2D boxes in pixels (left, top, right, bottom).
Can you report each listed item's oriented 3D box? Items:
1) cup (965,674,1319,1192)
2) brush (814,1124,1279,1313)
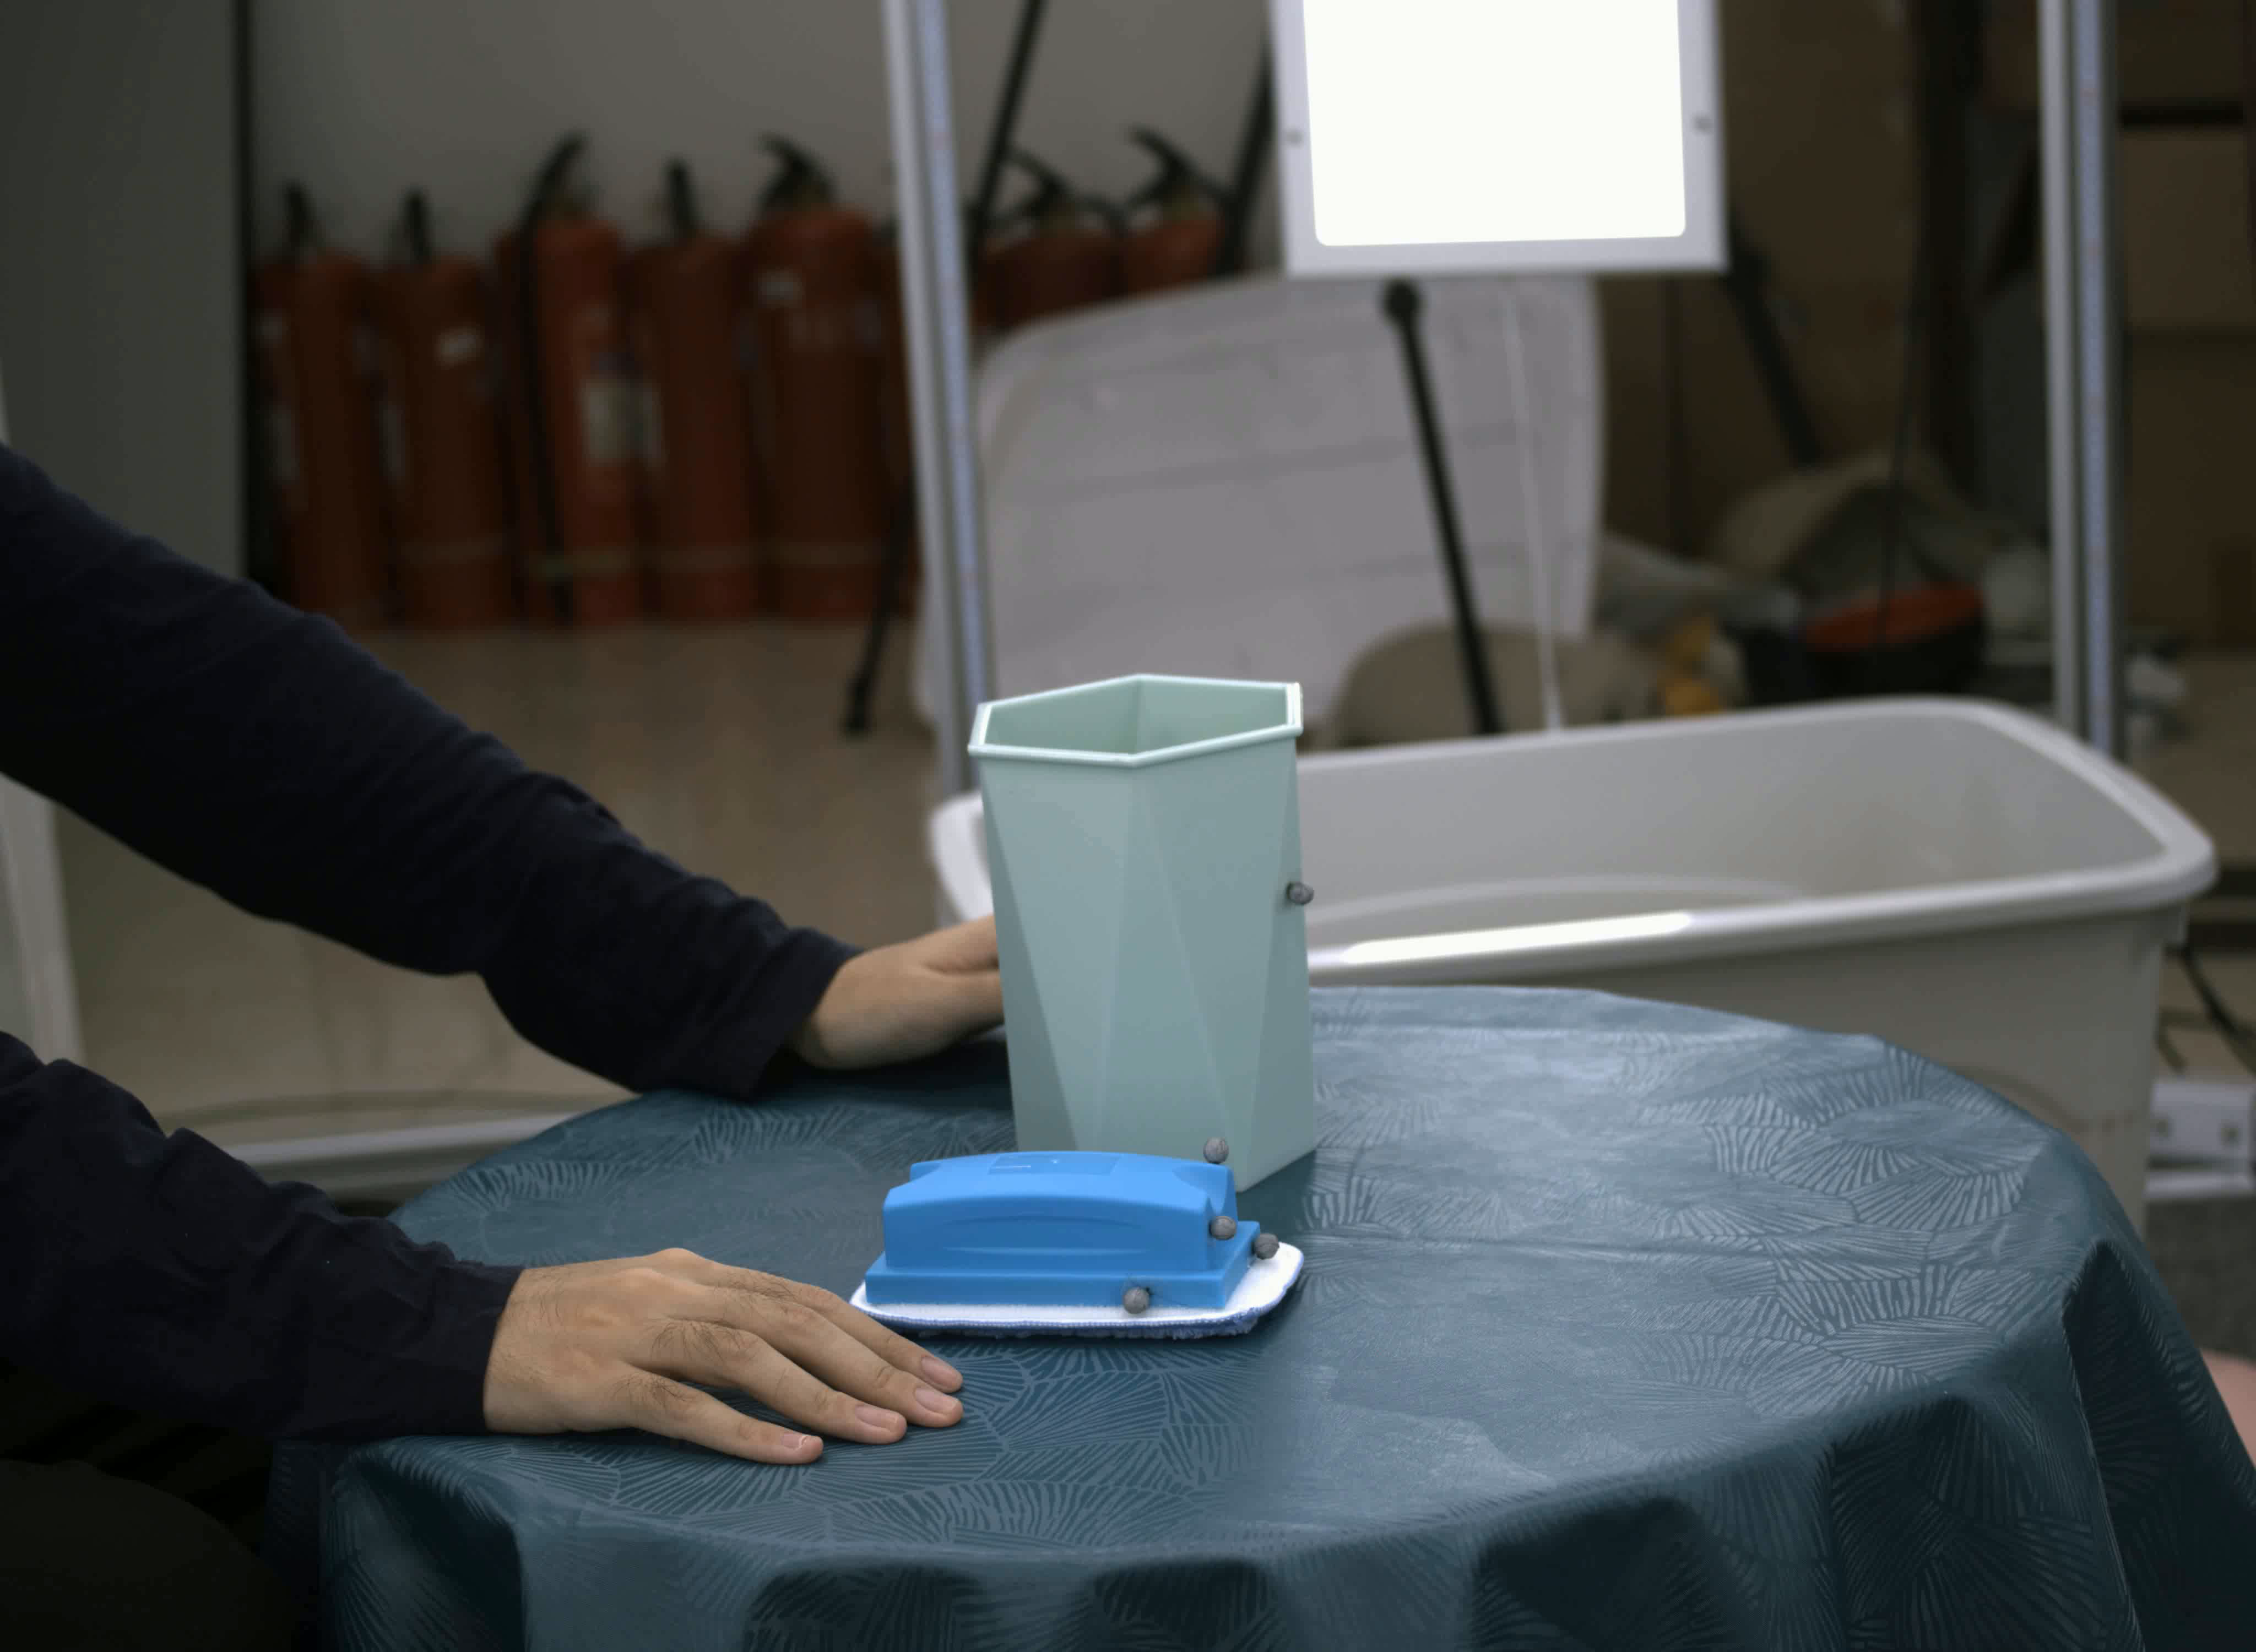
[{"bbox_3d":[0.009,0.039,1.915,0.115,0.163,0.130,-5,14,2],"label":"cup"},{"bbox_3d":[-0.026,0.127,1.779,0.145,0.056,0.082,3,12,19],"label":"brush"}]
